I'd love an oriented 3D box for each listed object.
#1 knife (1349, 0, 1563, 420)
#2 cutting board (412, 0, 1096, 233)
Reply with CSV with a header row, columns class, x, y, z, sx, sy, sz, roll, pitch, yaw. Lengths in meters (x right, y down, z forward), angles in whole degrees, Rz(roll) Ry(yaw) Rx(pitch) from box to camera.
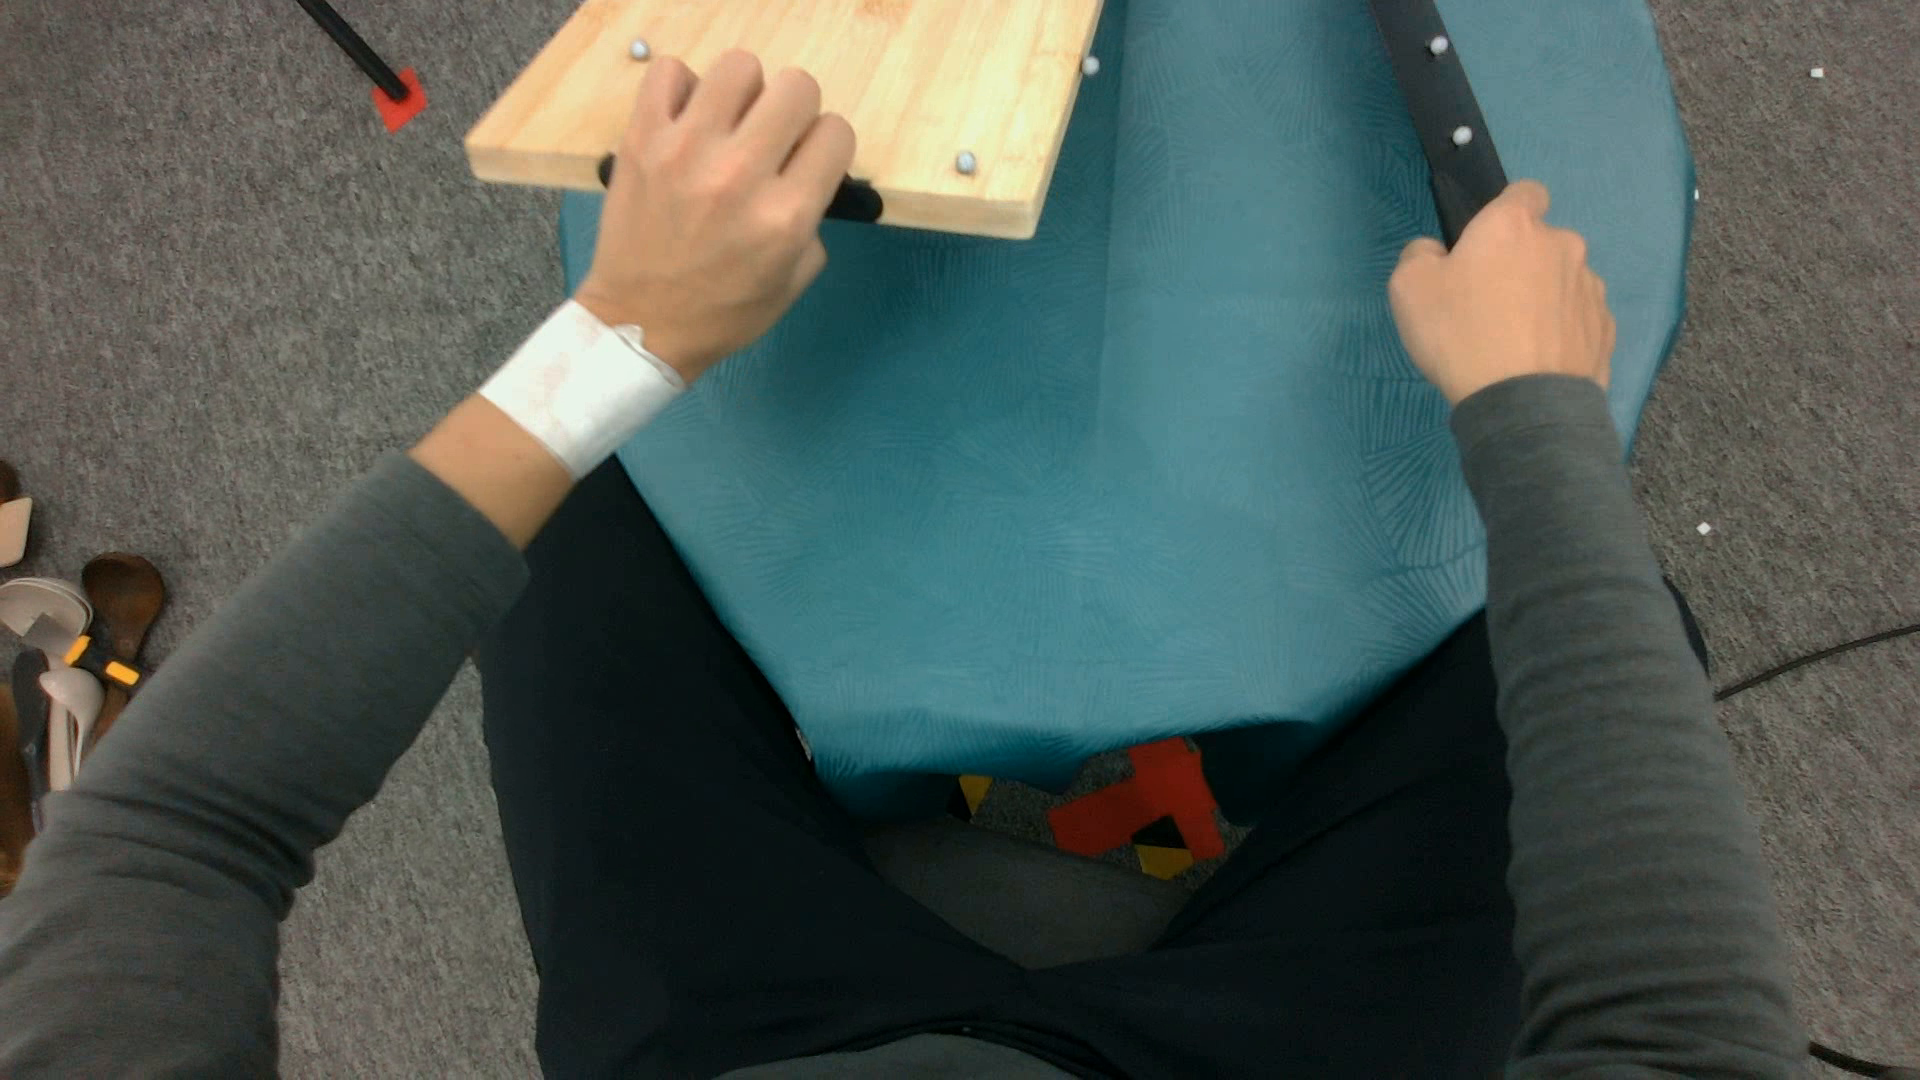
class,x,y,z,sx,sy,sz,roll,pitch,yaw
knife,0.225,-0.192,0.652,0.081,0.021,0.303,8,61,-34
cutting board,-0.063,-0.254,0.658,0.250,0.023,0.350,8,43,8
